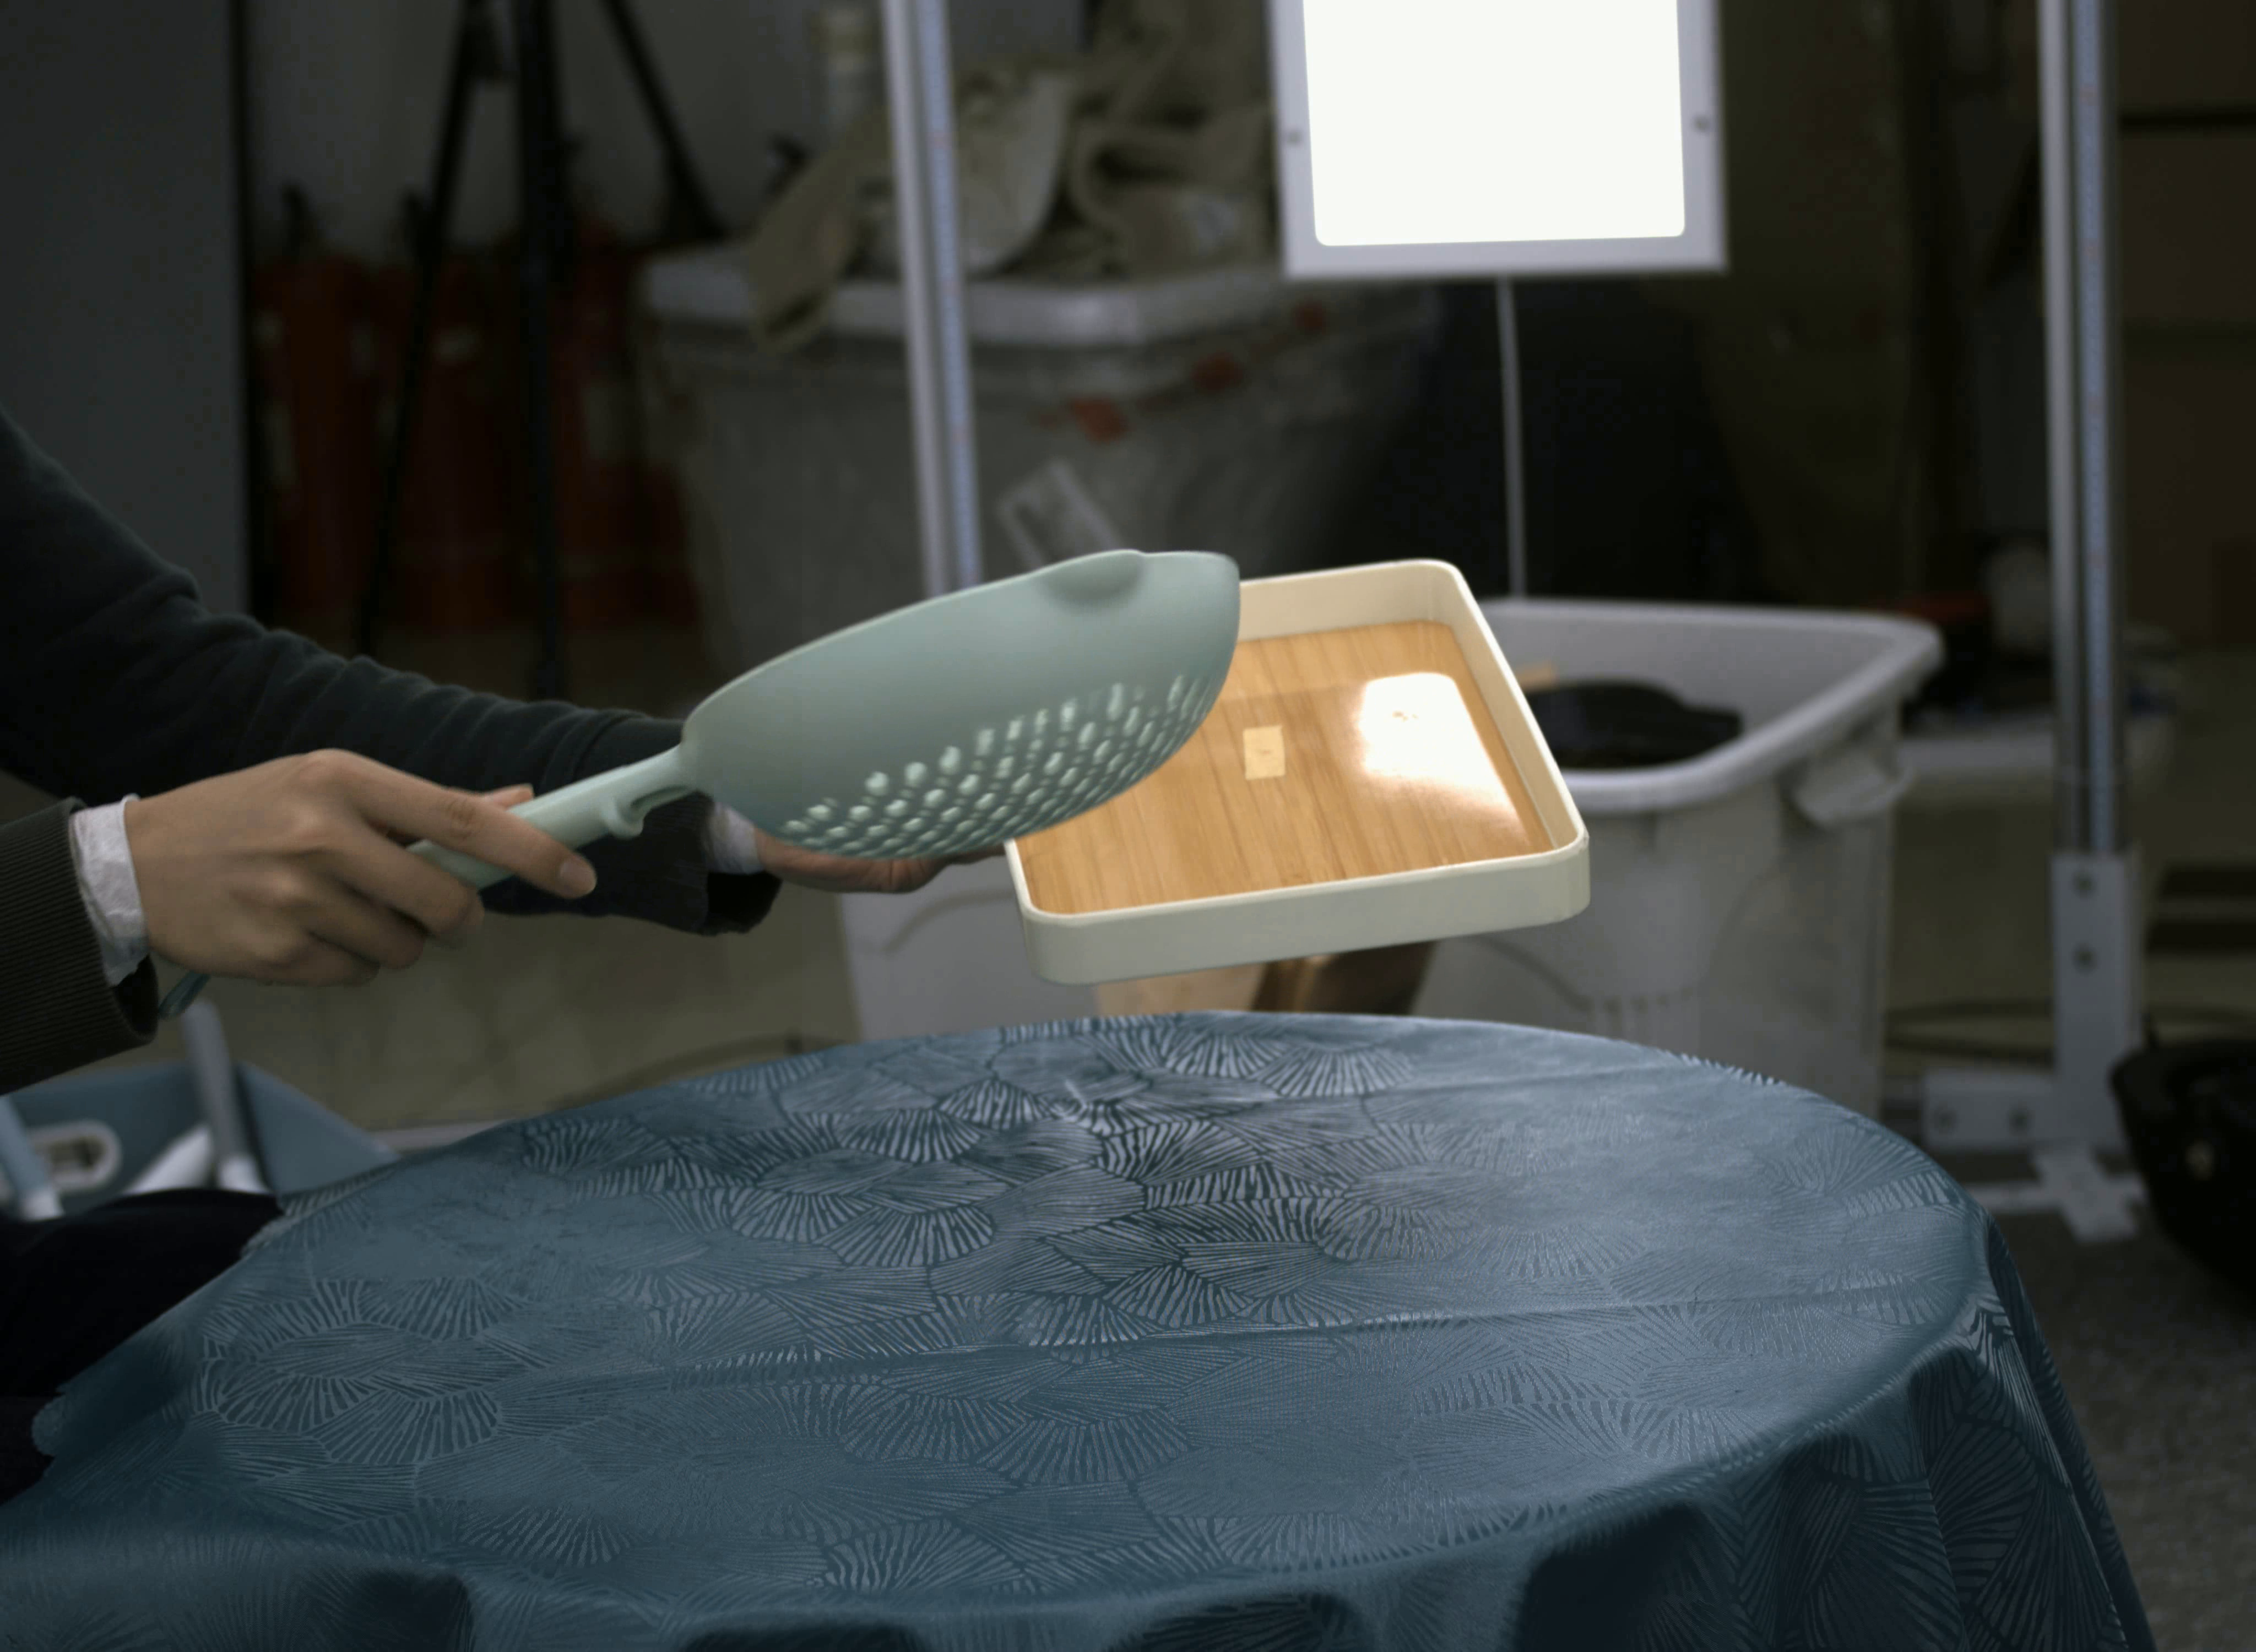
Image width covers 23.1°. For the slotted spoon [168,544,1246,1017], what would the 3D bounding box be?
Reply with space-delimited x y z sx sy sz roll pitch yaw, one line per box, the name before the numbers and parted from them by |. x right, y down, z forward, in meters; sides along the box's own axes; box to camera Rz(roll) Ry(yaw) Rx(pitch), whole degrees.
slotted spoon | -0.132 -0.012 1.651 0.363 0.075 0.167 -11 -5 18

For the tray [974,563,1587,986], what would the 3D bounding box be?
tray | 0.045 -0.023 1.927 0.191 0.027 0.300 -8 22 -2
